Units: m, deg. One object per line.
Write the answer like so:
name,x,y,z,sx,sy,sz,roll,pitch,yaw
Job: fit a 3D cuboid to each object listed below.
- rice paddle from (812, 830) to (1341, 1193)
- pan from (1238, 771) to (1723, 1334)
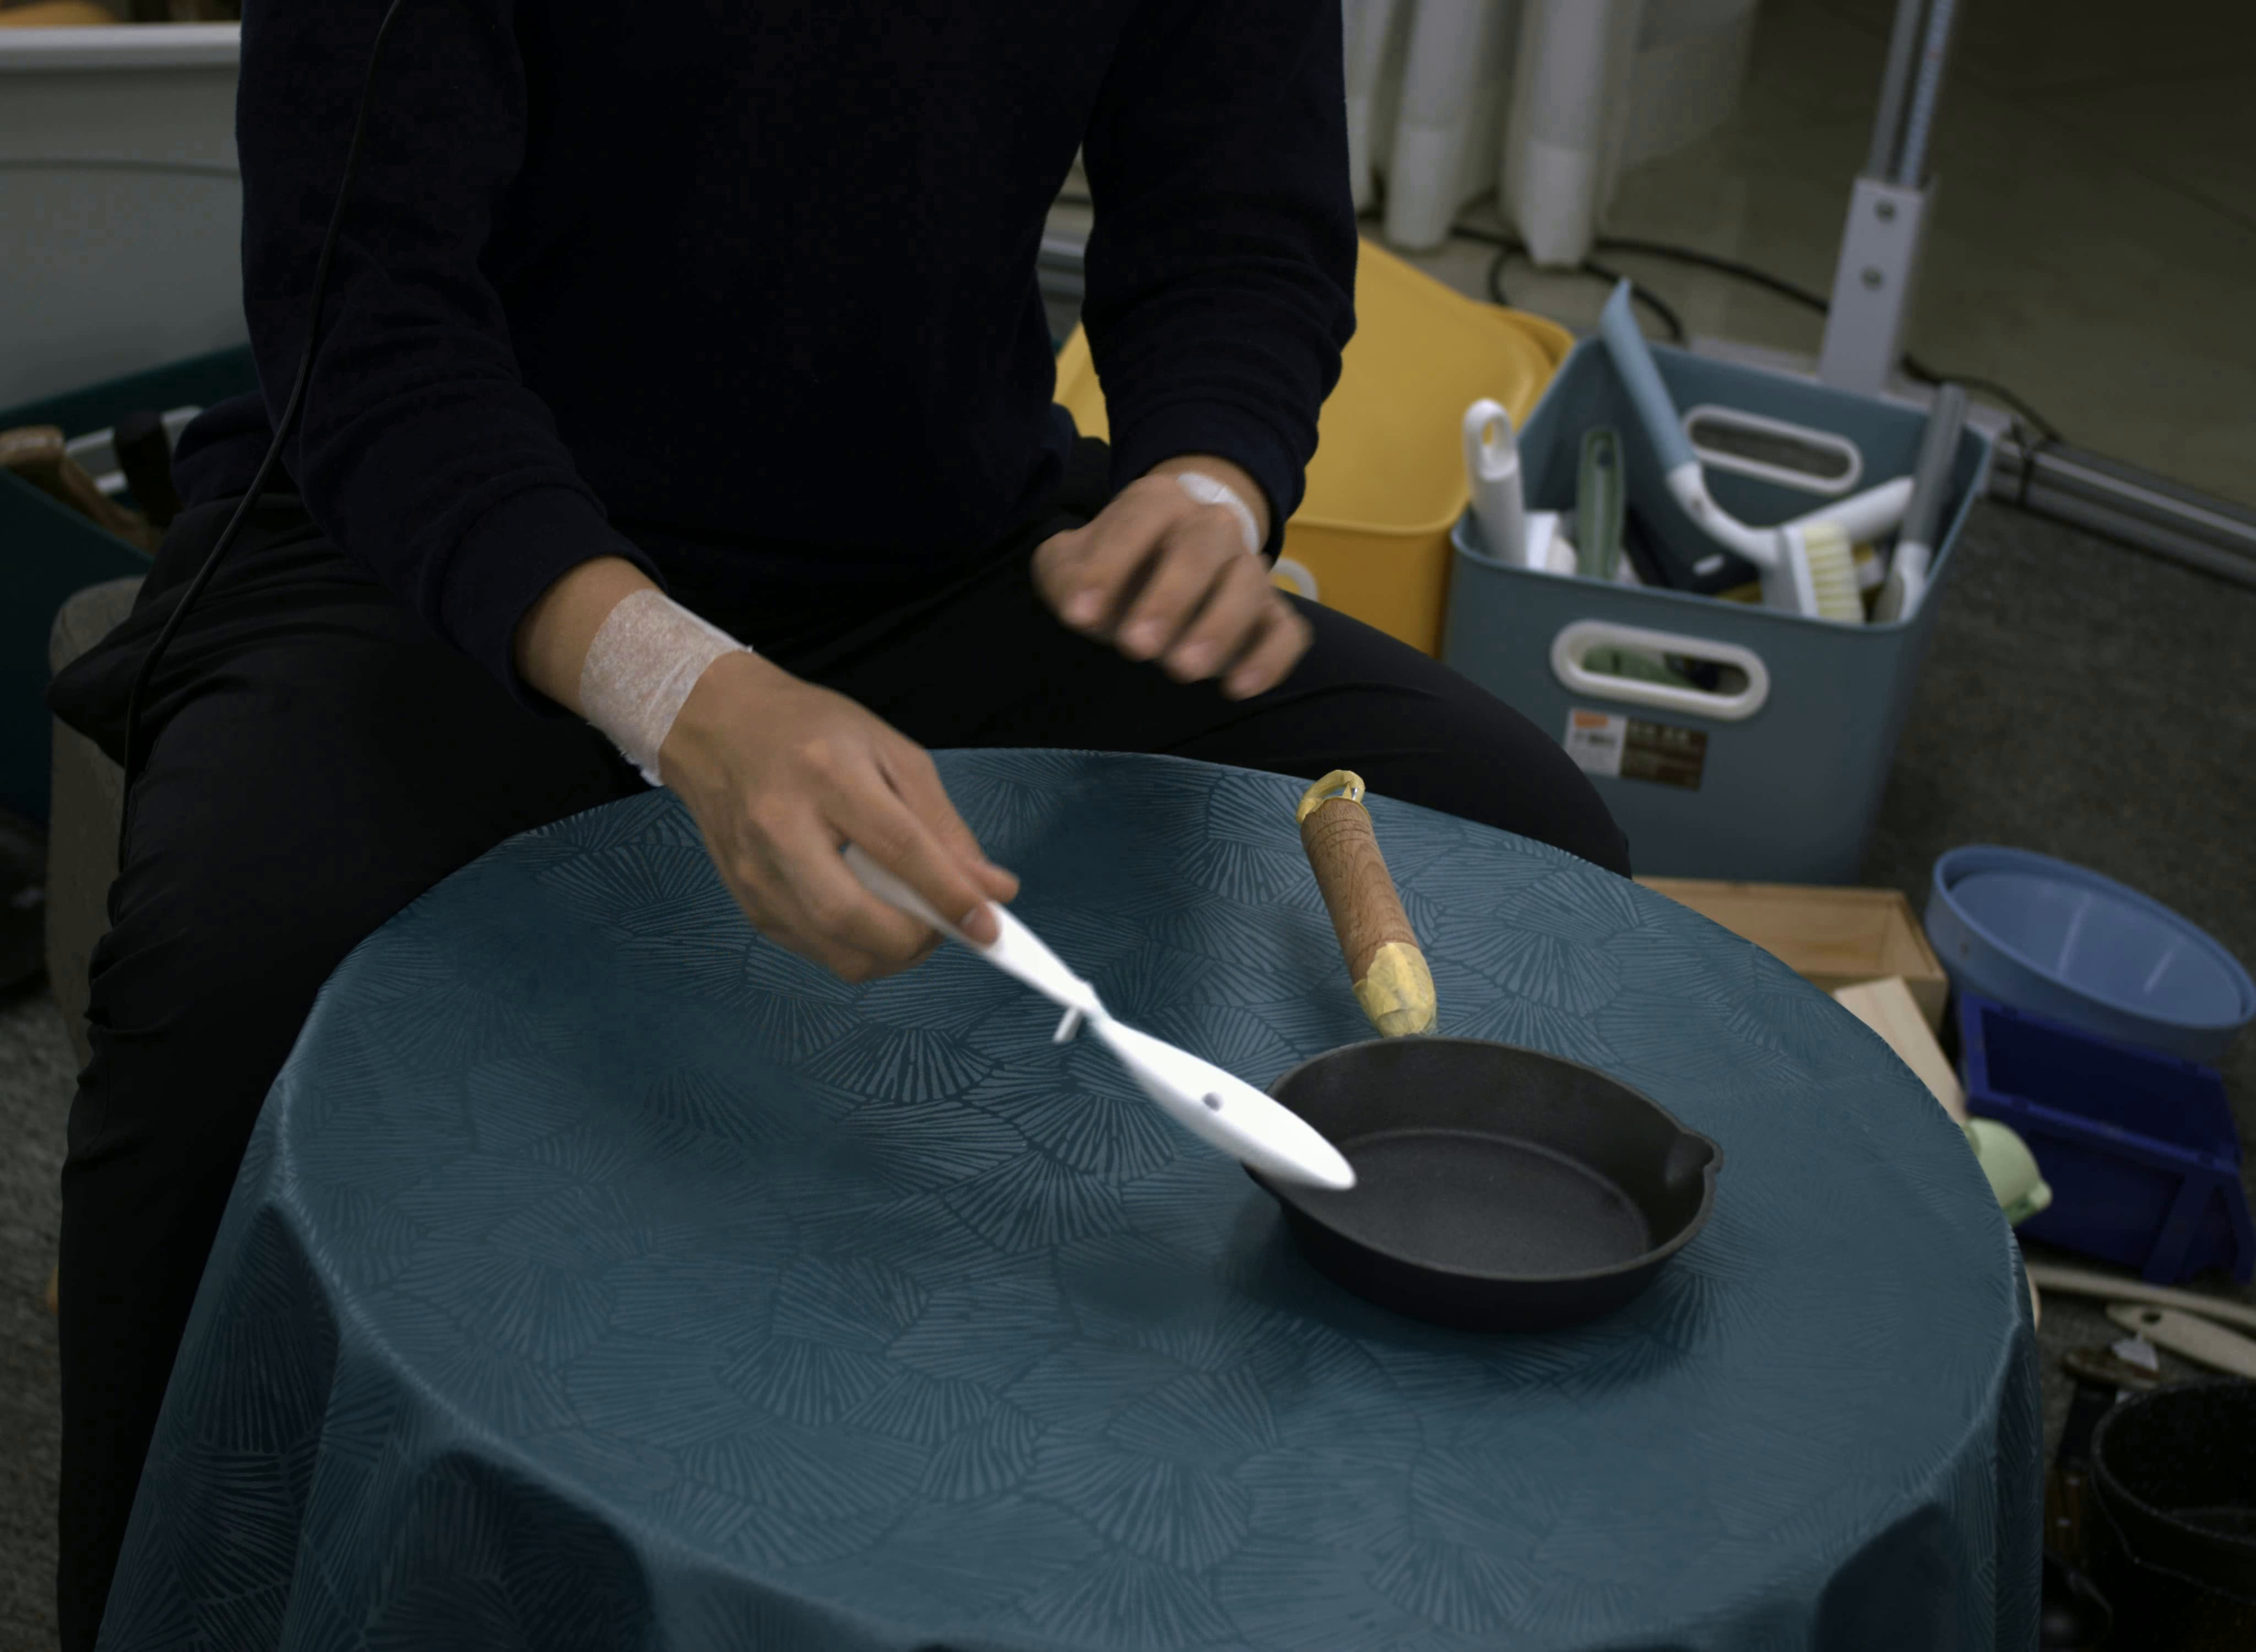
rice paddle,-0.015,0.064,1.751,0.206,0.029,0.068,32,18,20
pan,0.104,0.076,1.863,0.168,0.049,0.327,1,29,-11
